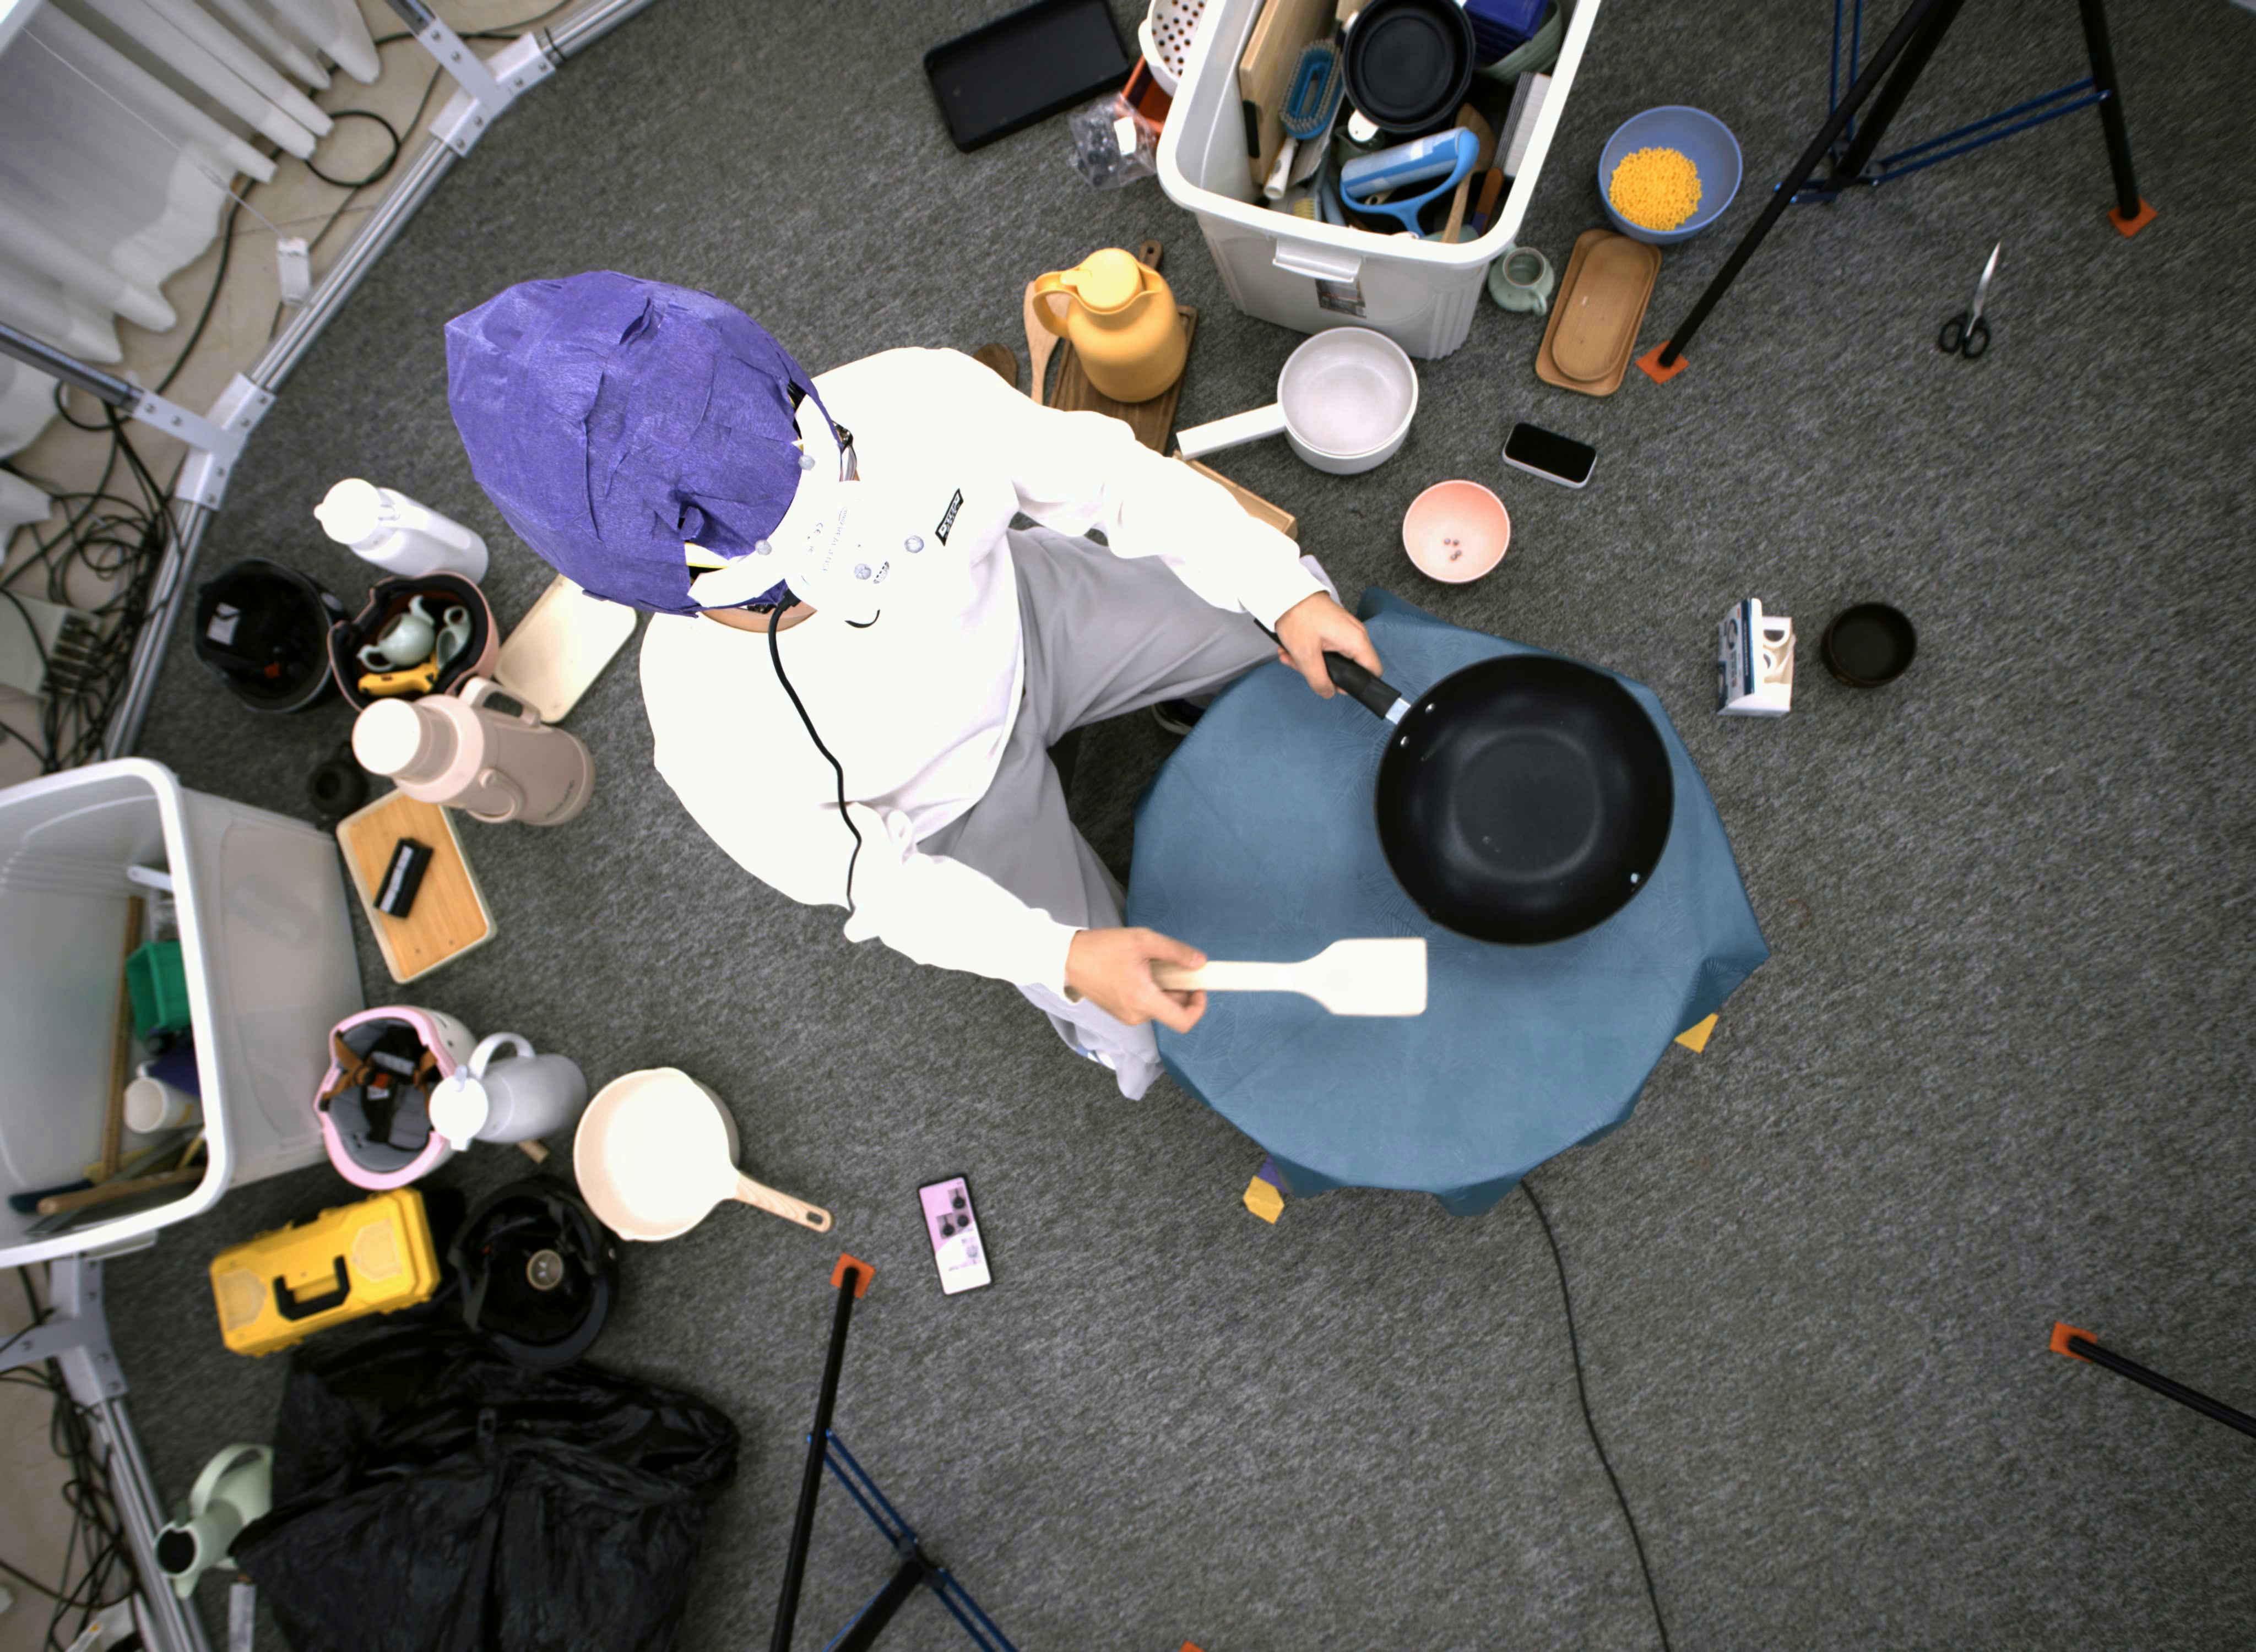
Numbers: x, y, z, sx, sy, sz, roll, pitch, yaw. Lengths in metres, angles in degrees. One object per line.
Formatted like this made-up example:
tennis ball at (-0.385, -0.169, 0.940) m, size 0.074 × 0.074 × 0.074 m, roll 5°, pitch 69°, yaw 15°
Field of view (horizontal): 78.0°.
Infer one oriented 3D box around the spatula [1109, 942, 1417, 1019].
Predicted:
spatula at (0.124, 0.143, 1.309) m, size 0.294 × 0.011 × 0.071 m, roll -1°, pitch 77°, yaw 15°

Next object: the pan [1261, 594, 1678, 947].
pan at (0.318, -0.081, 1.361) m, size 0.460 × 0.086 × 0.291 m, roll 39°, pitch 103°, yaw 17°
